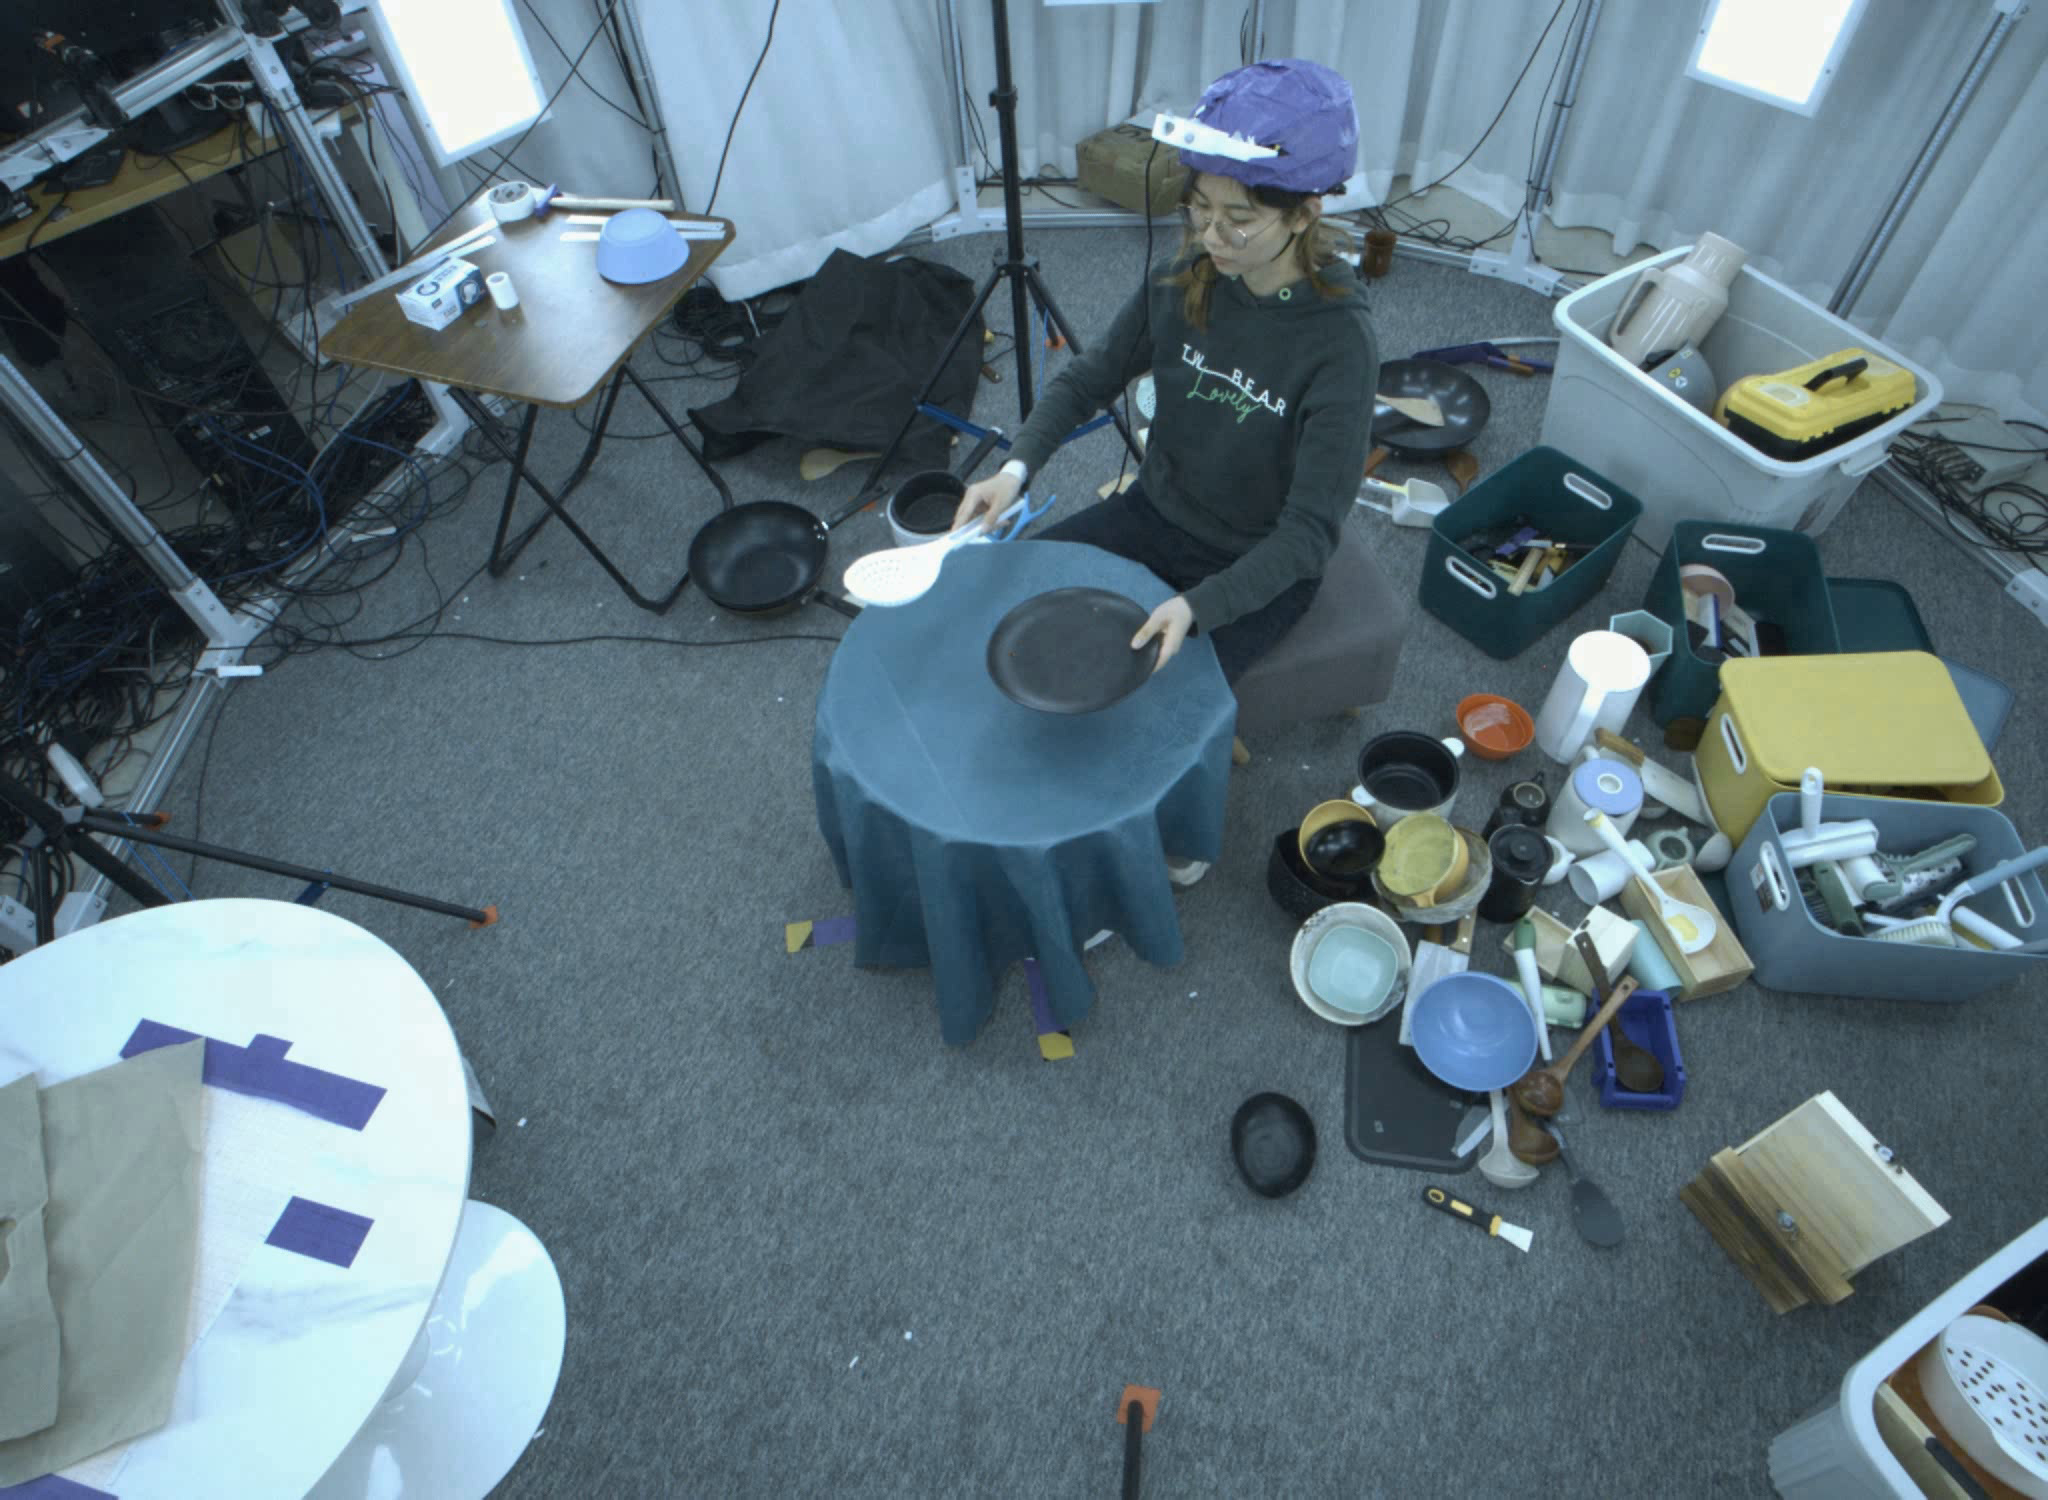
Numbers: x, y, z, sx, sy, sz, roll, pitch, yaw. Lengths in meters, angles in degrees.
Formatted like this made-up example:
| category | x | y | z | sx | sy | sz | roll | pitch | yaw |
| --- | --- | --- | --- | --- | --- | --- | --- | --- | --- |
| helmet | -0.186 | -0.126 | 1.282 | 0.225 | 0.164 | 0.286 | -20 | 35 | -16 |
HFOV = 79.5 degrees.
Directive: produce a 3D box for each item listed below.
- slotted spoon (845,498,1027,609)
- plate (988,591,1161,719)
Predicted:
| category | x | y | z | sx | sy | sz | roll | pitch | yaw |
| --- | --- | --- | --- | --- | --- | --- | --- | --- | --- |
| slotted spoon | -0.121 | -0.302 | 1.839 | 0.133 | 0.046 | 0.352 | 30 | 55 | 29 |
| plate | 0.071 | -0.131 | 1.723 | 0.244 | 0.024 | 0.242 | -2 | 52 | 4 |
